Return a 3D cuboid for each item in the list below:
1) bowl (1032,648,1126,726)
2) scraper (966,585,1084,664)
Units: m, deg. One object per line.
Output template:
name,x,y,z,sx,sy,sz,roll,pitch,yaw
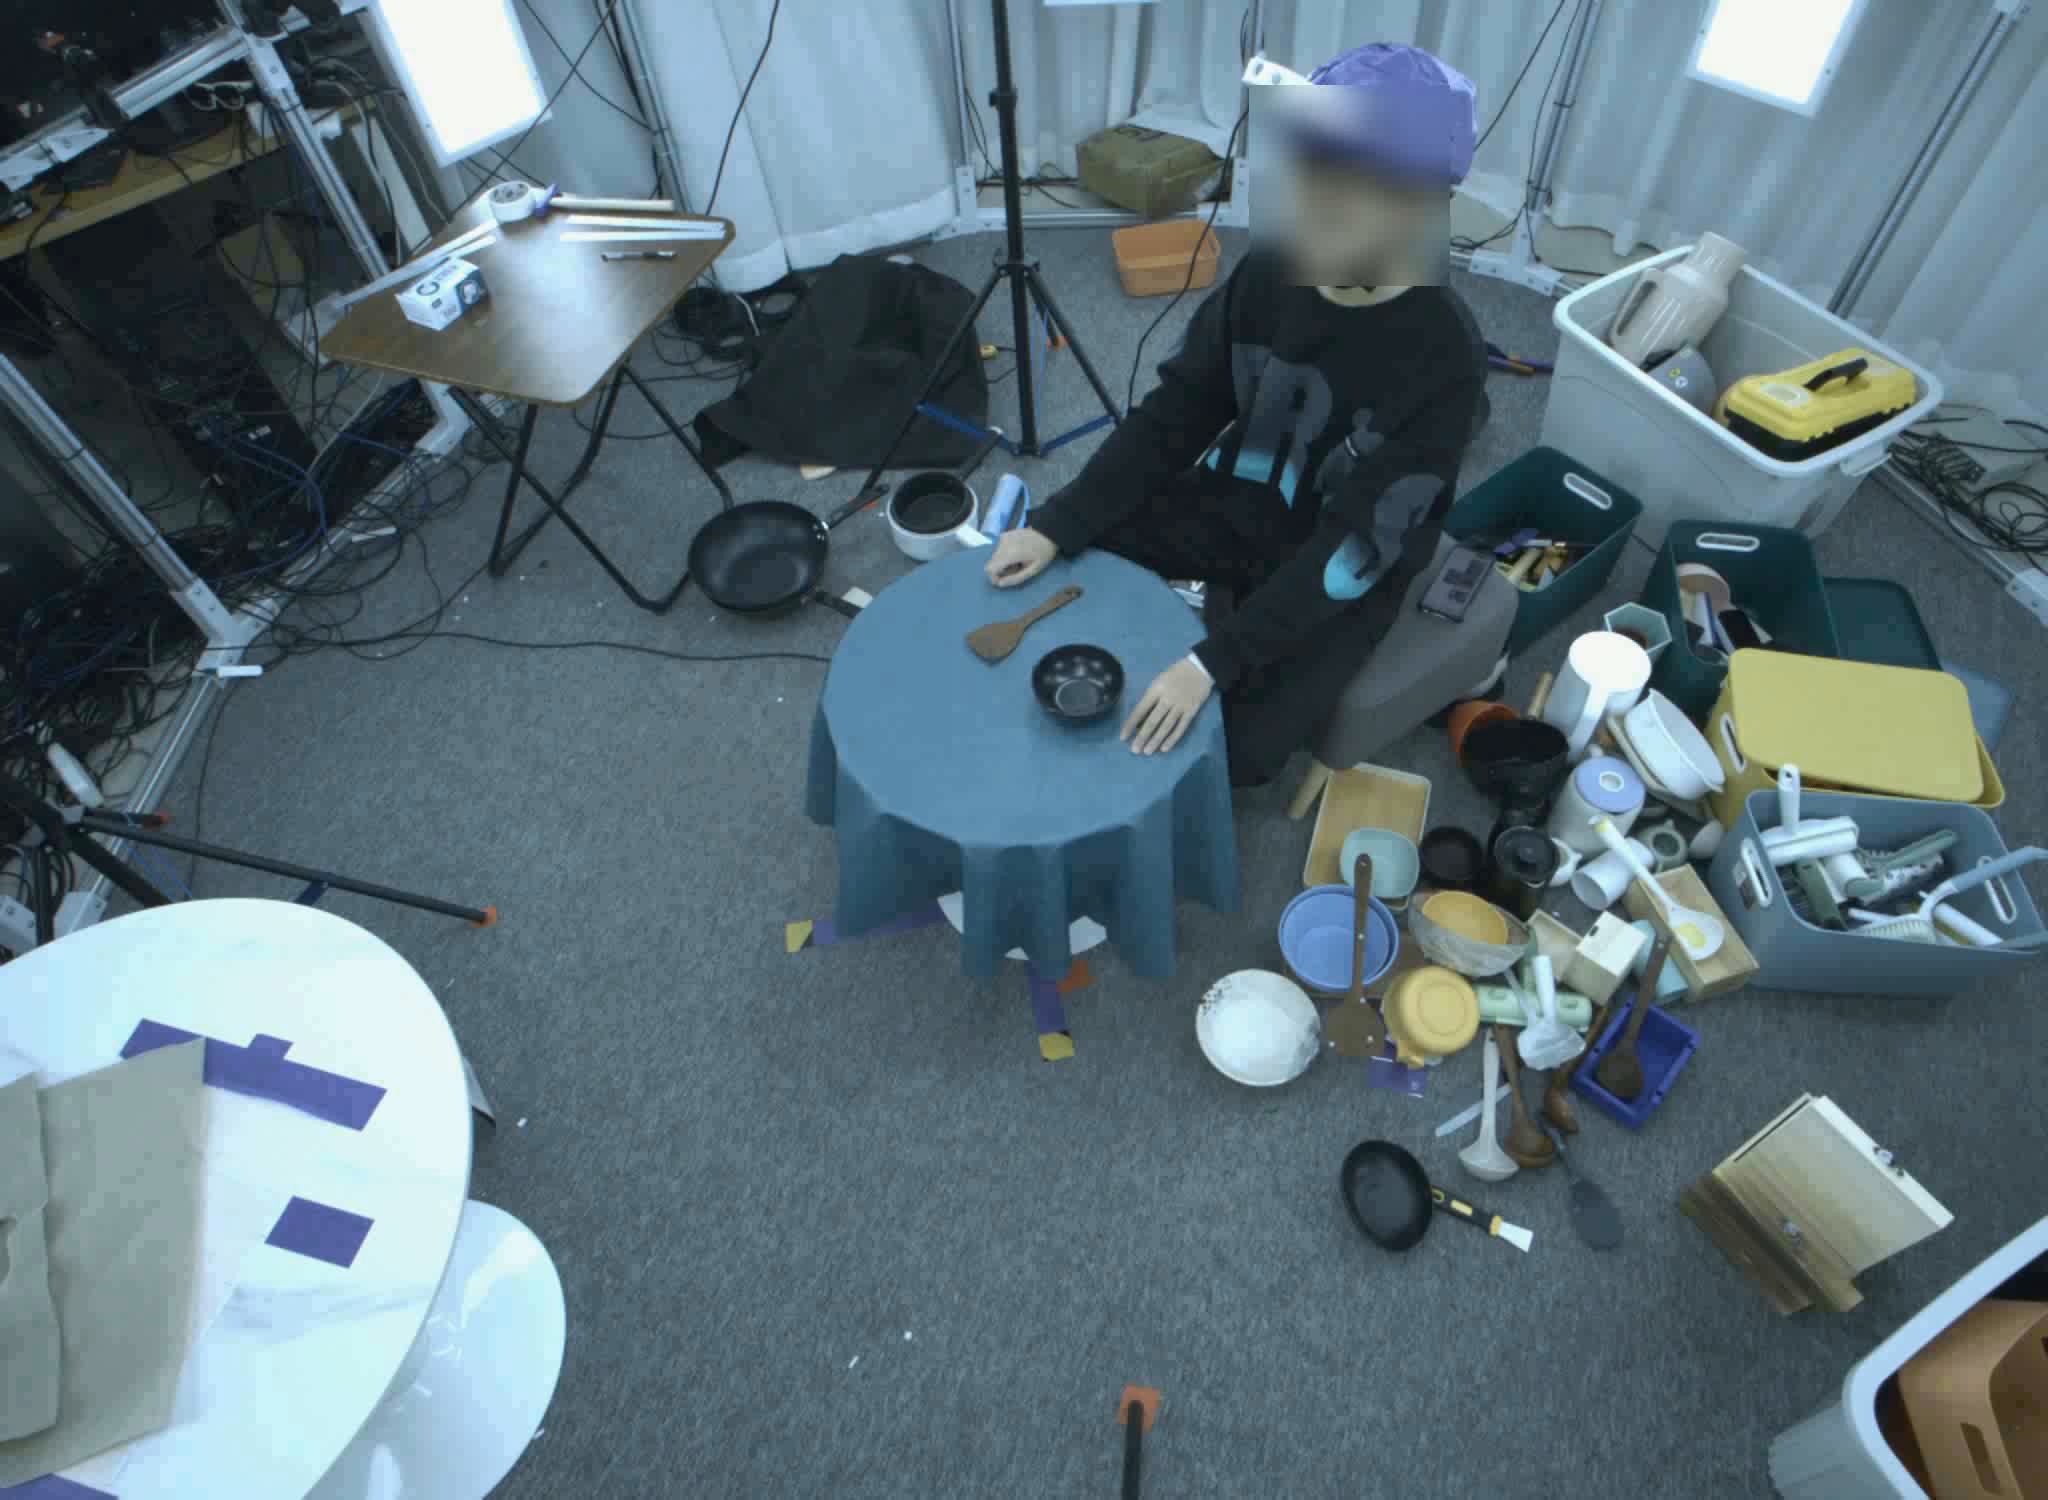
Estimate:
bowl,0.083,-0.085,1.826,0.140,0.050,0.138,-1,52,3
scraper,0.009,-0.203,1.936,0.213,0.011,0.074,-34,62,-21
